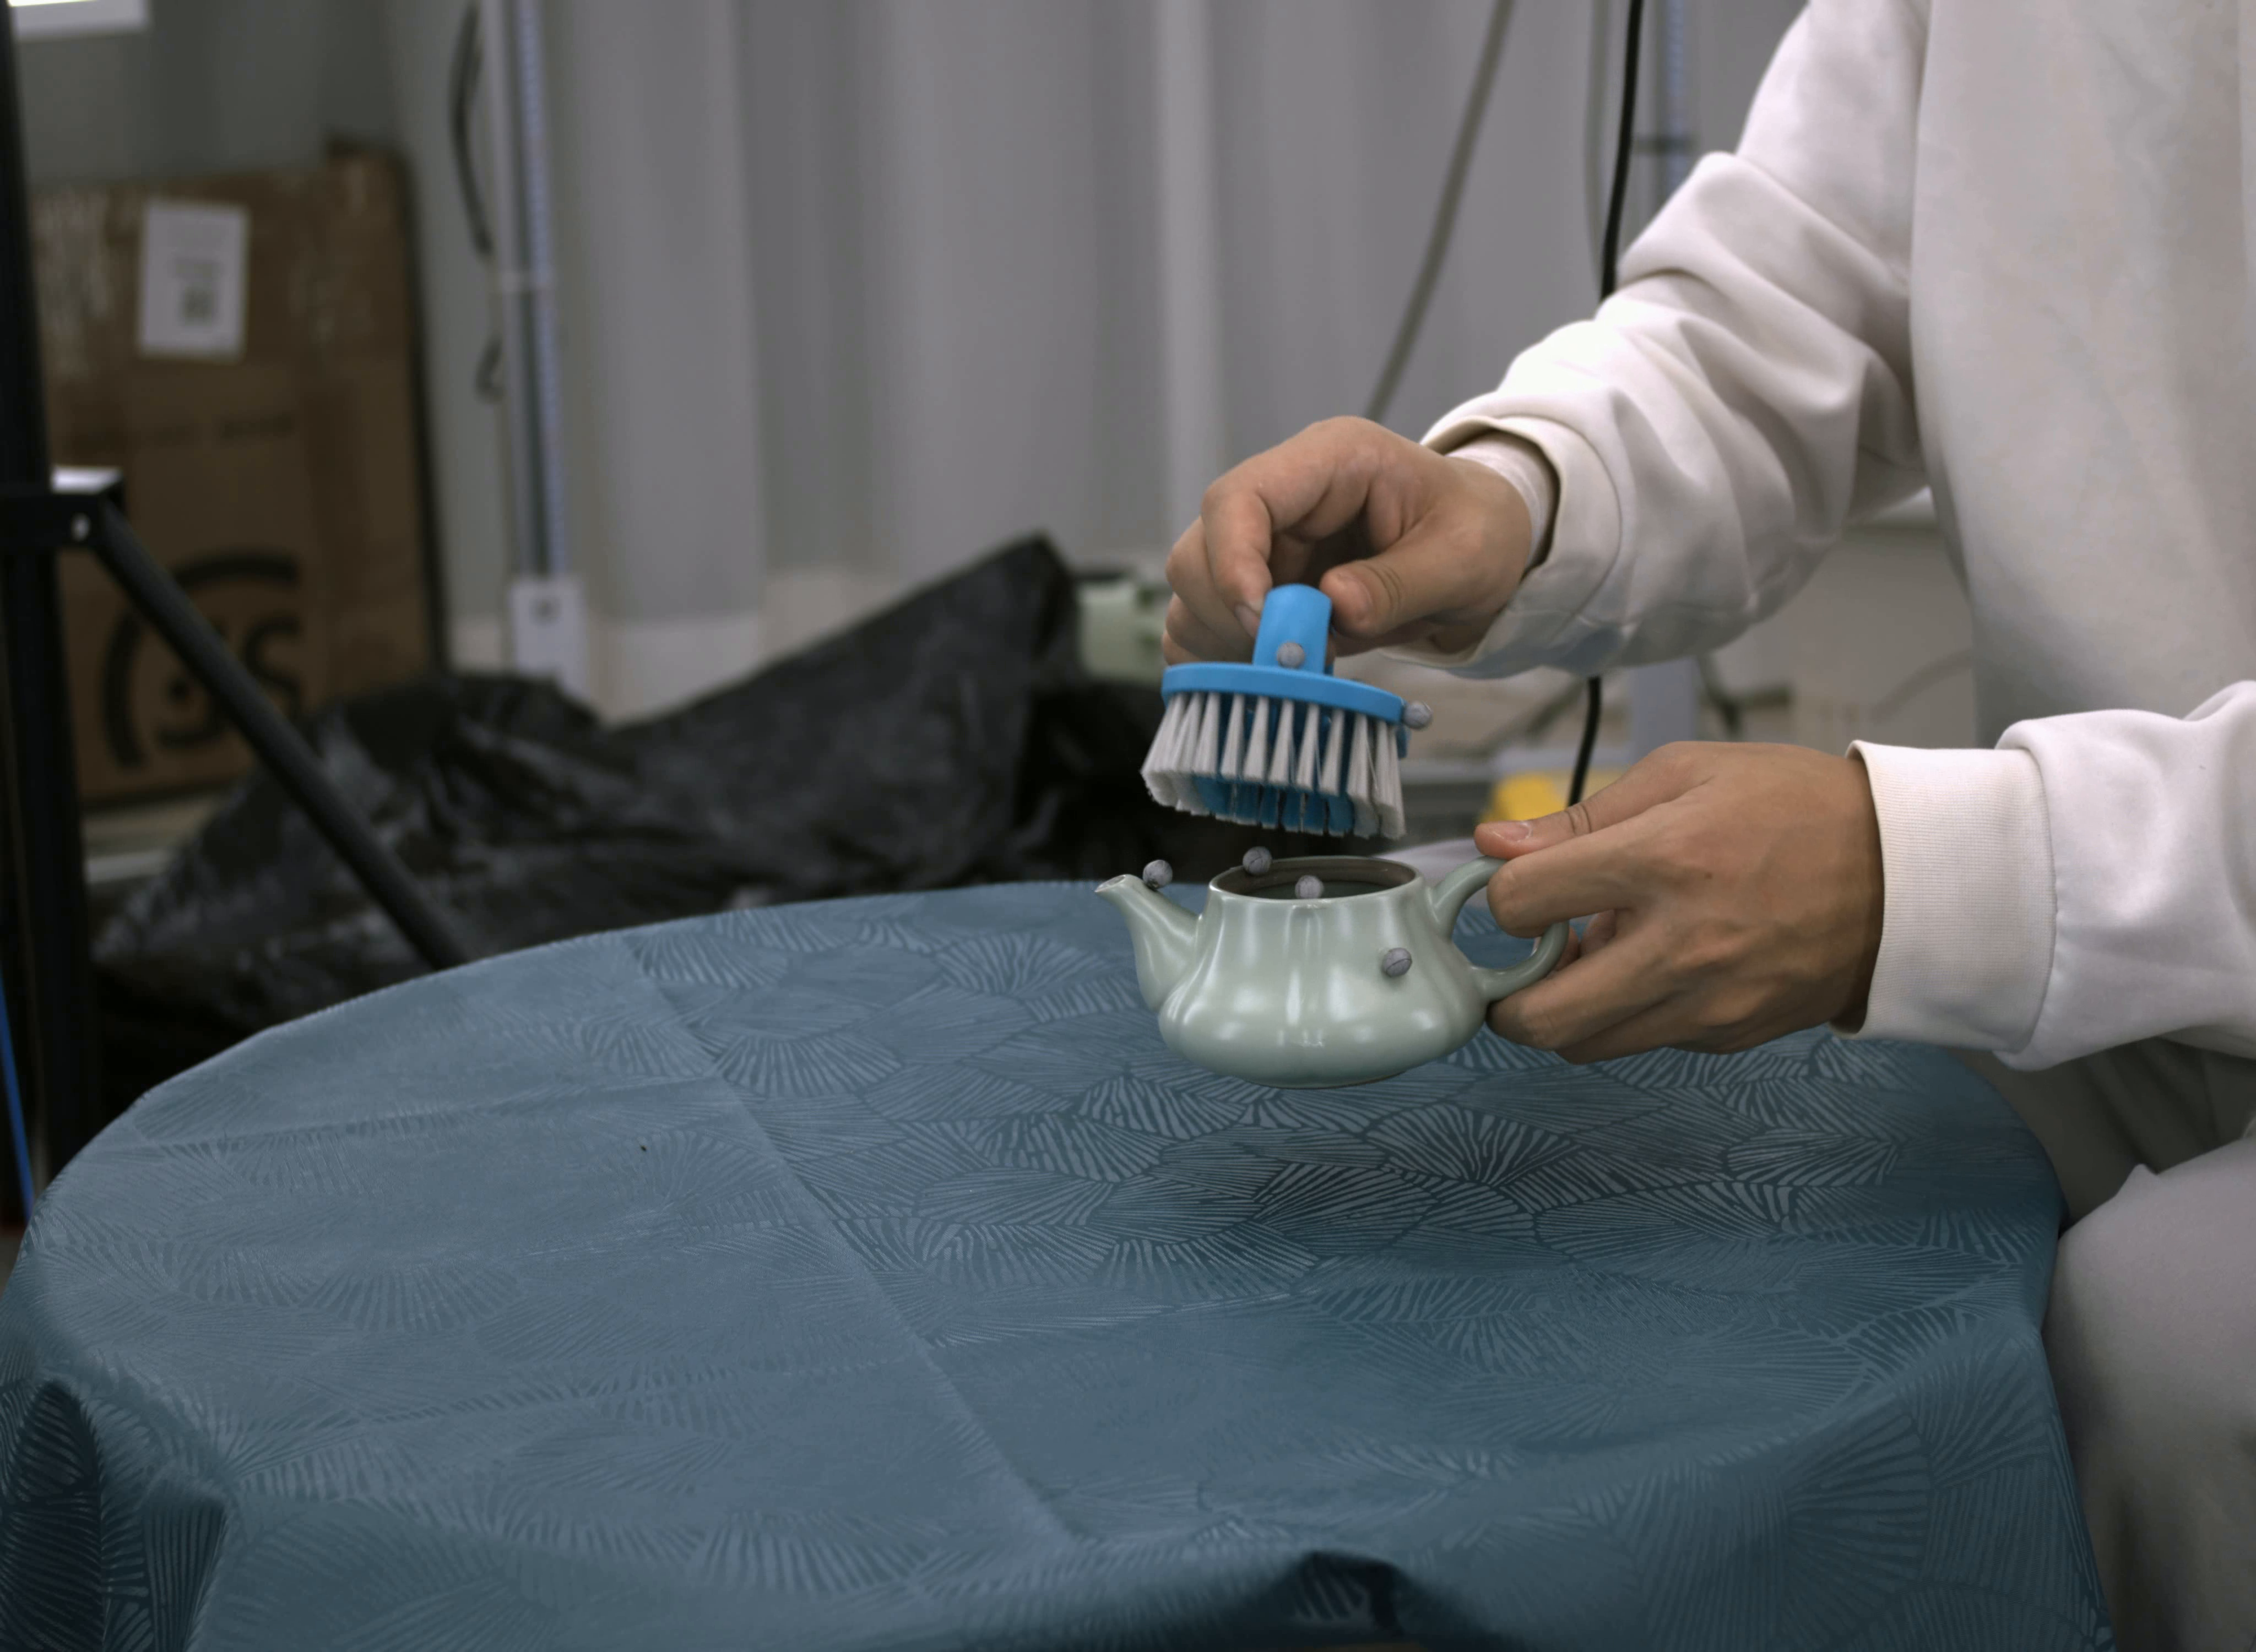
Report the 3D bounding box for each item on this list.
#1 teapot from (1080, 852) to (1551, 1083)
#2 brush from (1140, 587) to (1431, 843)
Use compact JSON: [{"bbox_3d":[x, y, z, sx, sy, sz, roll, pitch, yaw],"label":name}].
[{"bbox_3d":[0.055,0.040,1.543,0.137,0.061,0.096,-2,8,5],"label":"teapot"},{"bbox_3d":[0.048,-0.035,1.571,0.084,0.064,0.141,2,-8,3],"label":"brush"}]
